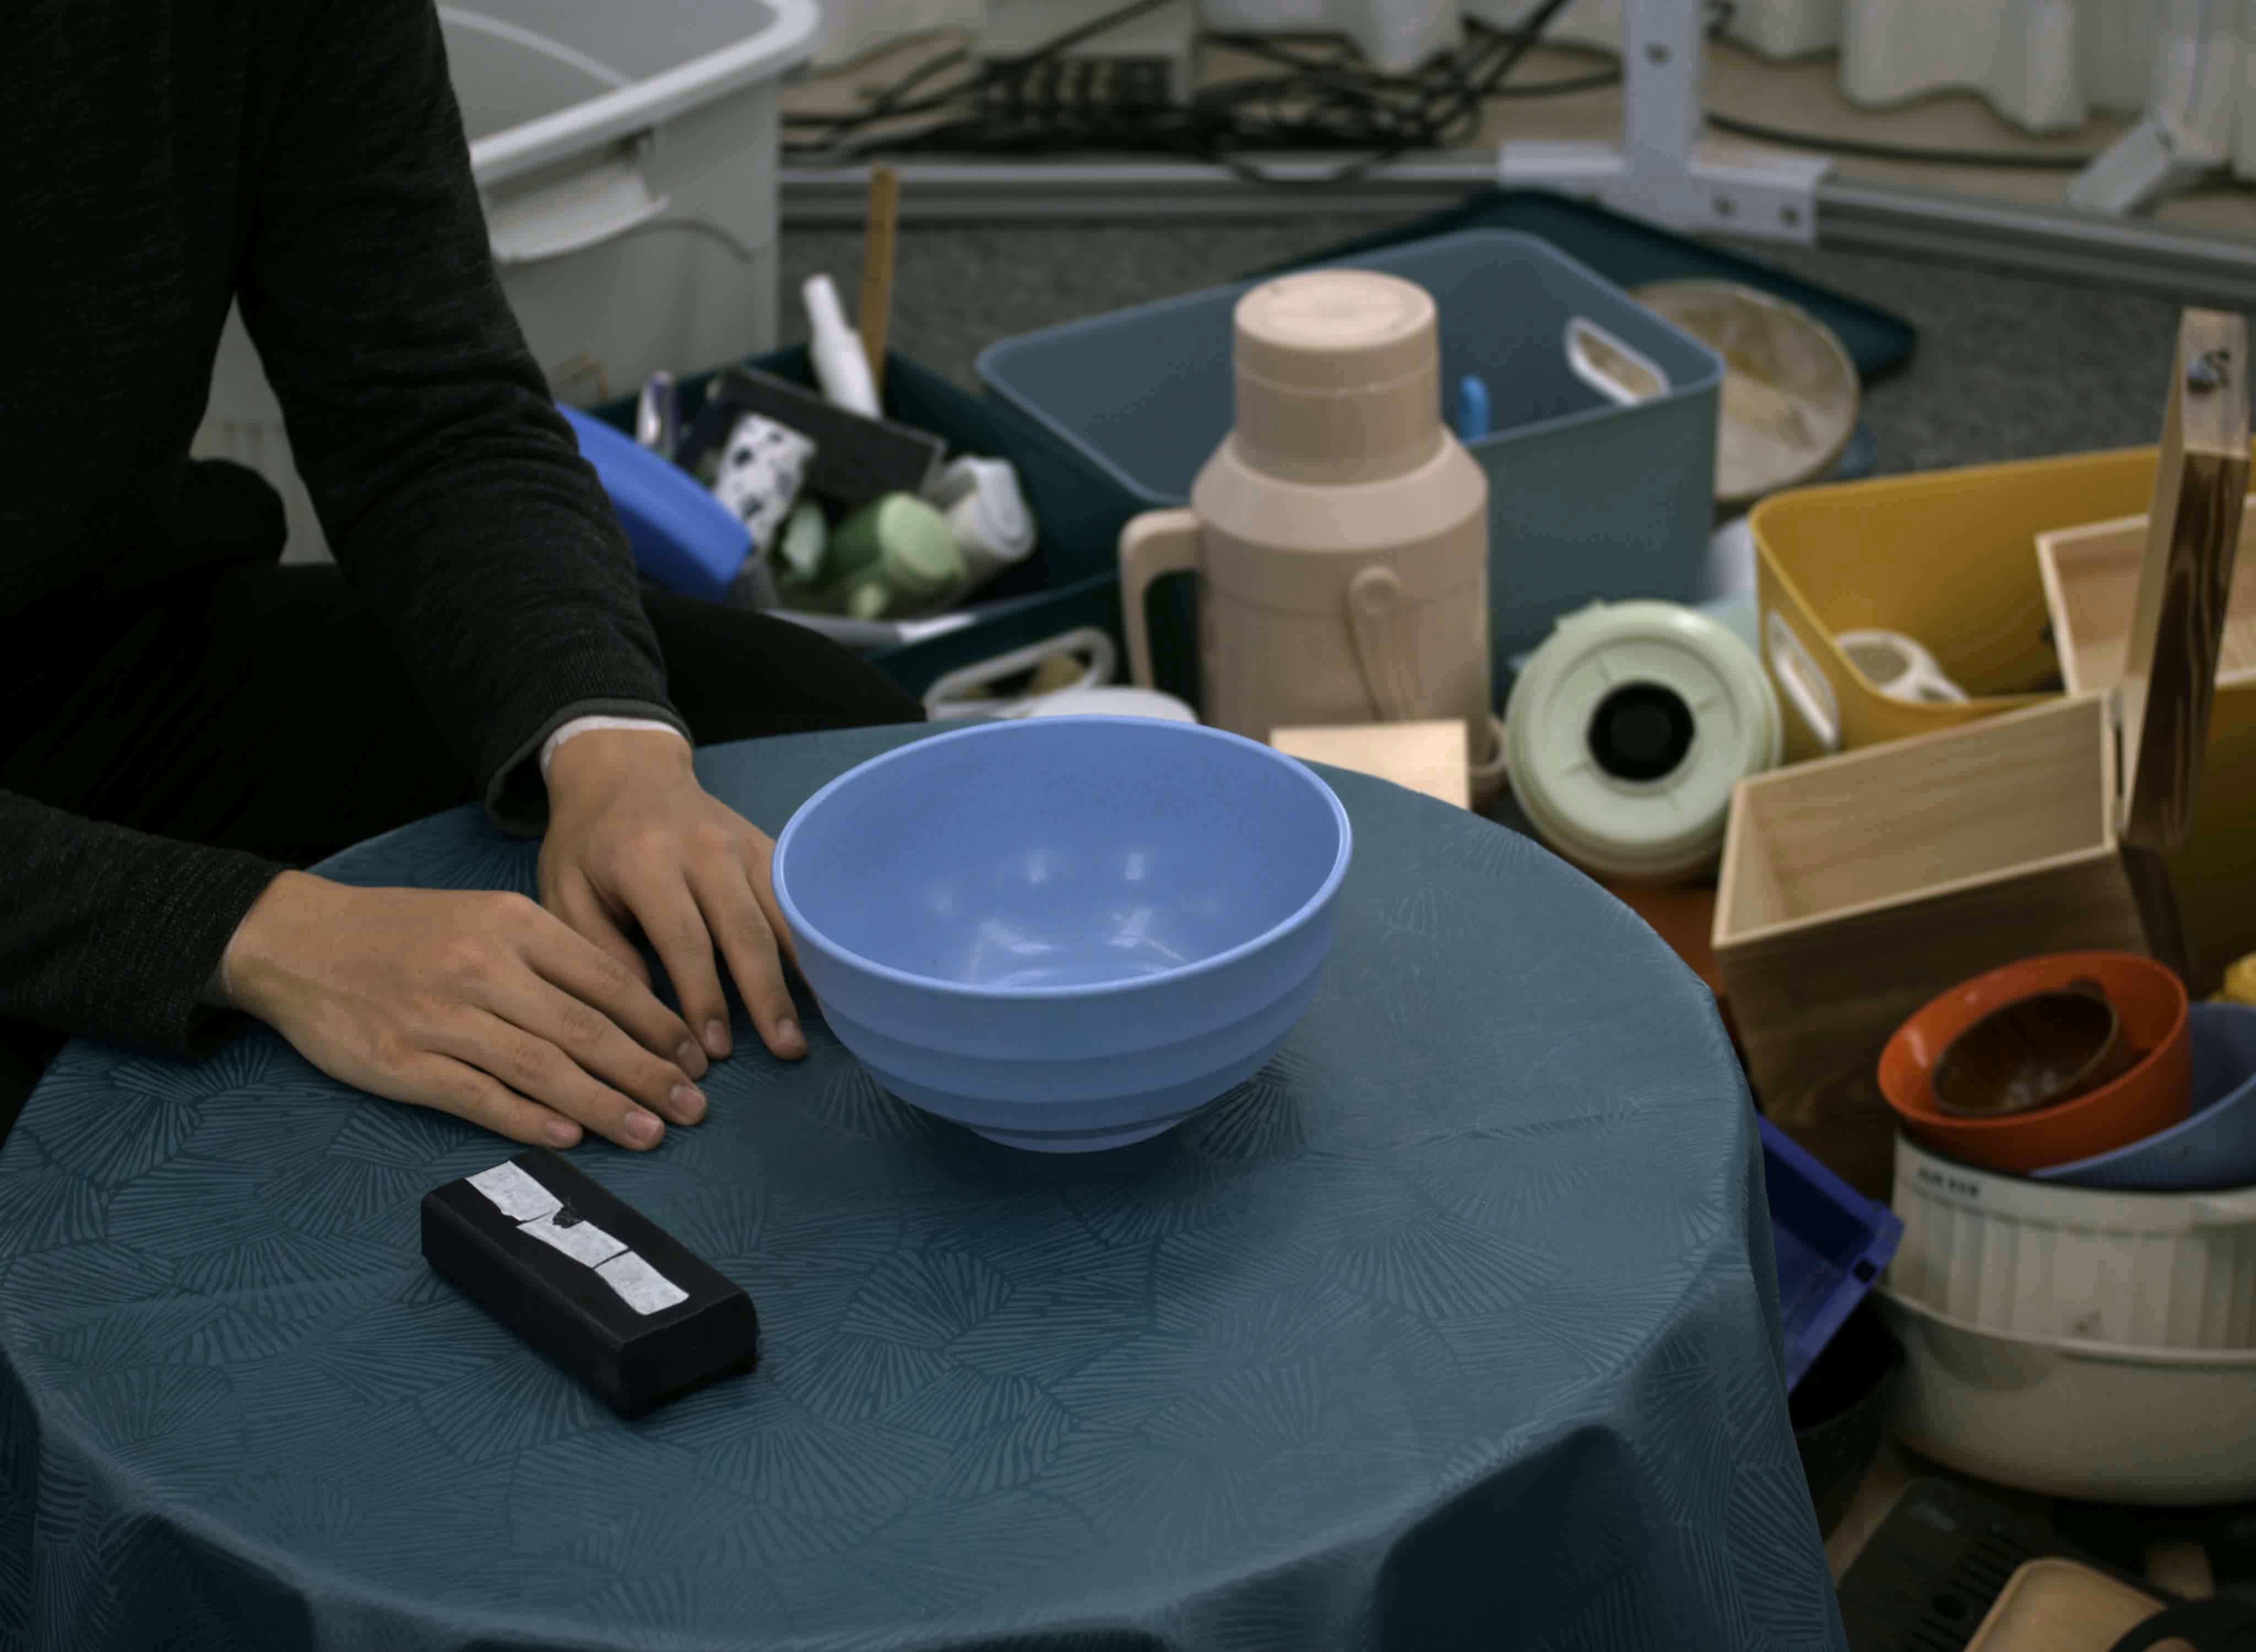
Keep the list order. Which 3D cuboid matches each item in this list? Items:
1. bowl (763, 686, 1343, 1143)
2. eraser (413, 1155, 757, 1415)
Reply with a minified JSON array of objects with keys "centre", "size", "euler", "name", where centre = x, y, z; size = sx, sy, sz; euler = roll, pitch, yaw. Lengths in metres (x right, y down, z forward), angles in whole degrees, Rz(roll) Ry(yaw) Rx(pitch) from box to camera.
[{"centre":[-0.021,0.043,1.912],"size":[0.195,0.094,0.200],"euler":[-4,33,3],"name":"bowl"},{"centre":[-0.174,0.147,1.799],"size":[0.054,0.030,0.125],"euler":[-19,31,-34],"name":"eraser"}]
